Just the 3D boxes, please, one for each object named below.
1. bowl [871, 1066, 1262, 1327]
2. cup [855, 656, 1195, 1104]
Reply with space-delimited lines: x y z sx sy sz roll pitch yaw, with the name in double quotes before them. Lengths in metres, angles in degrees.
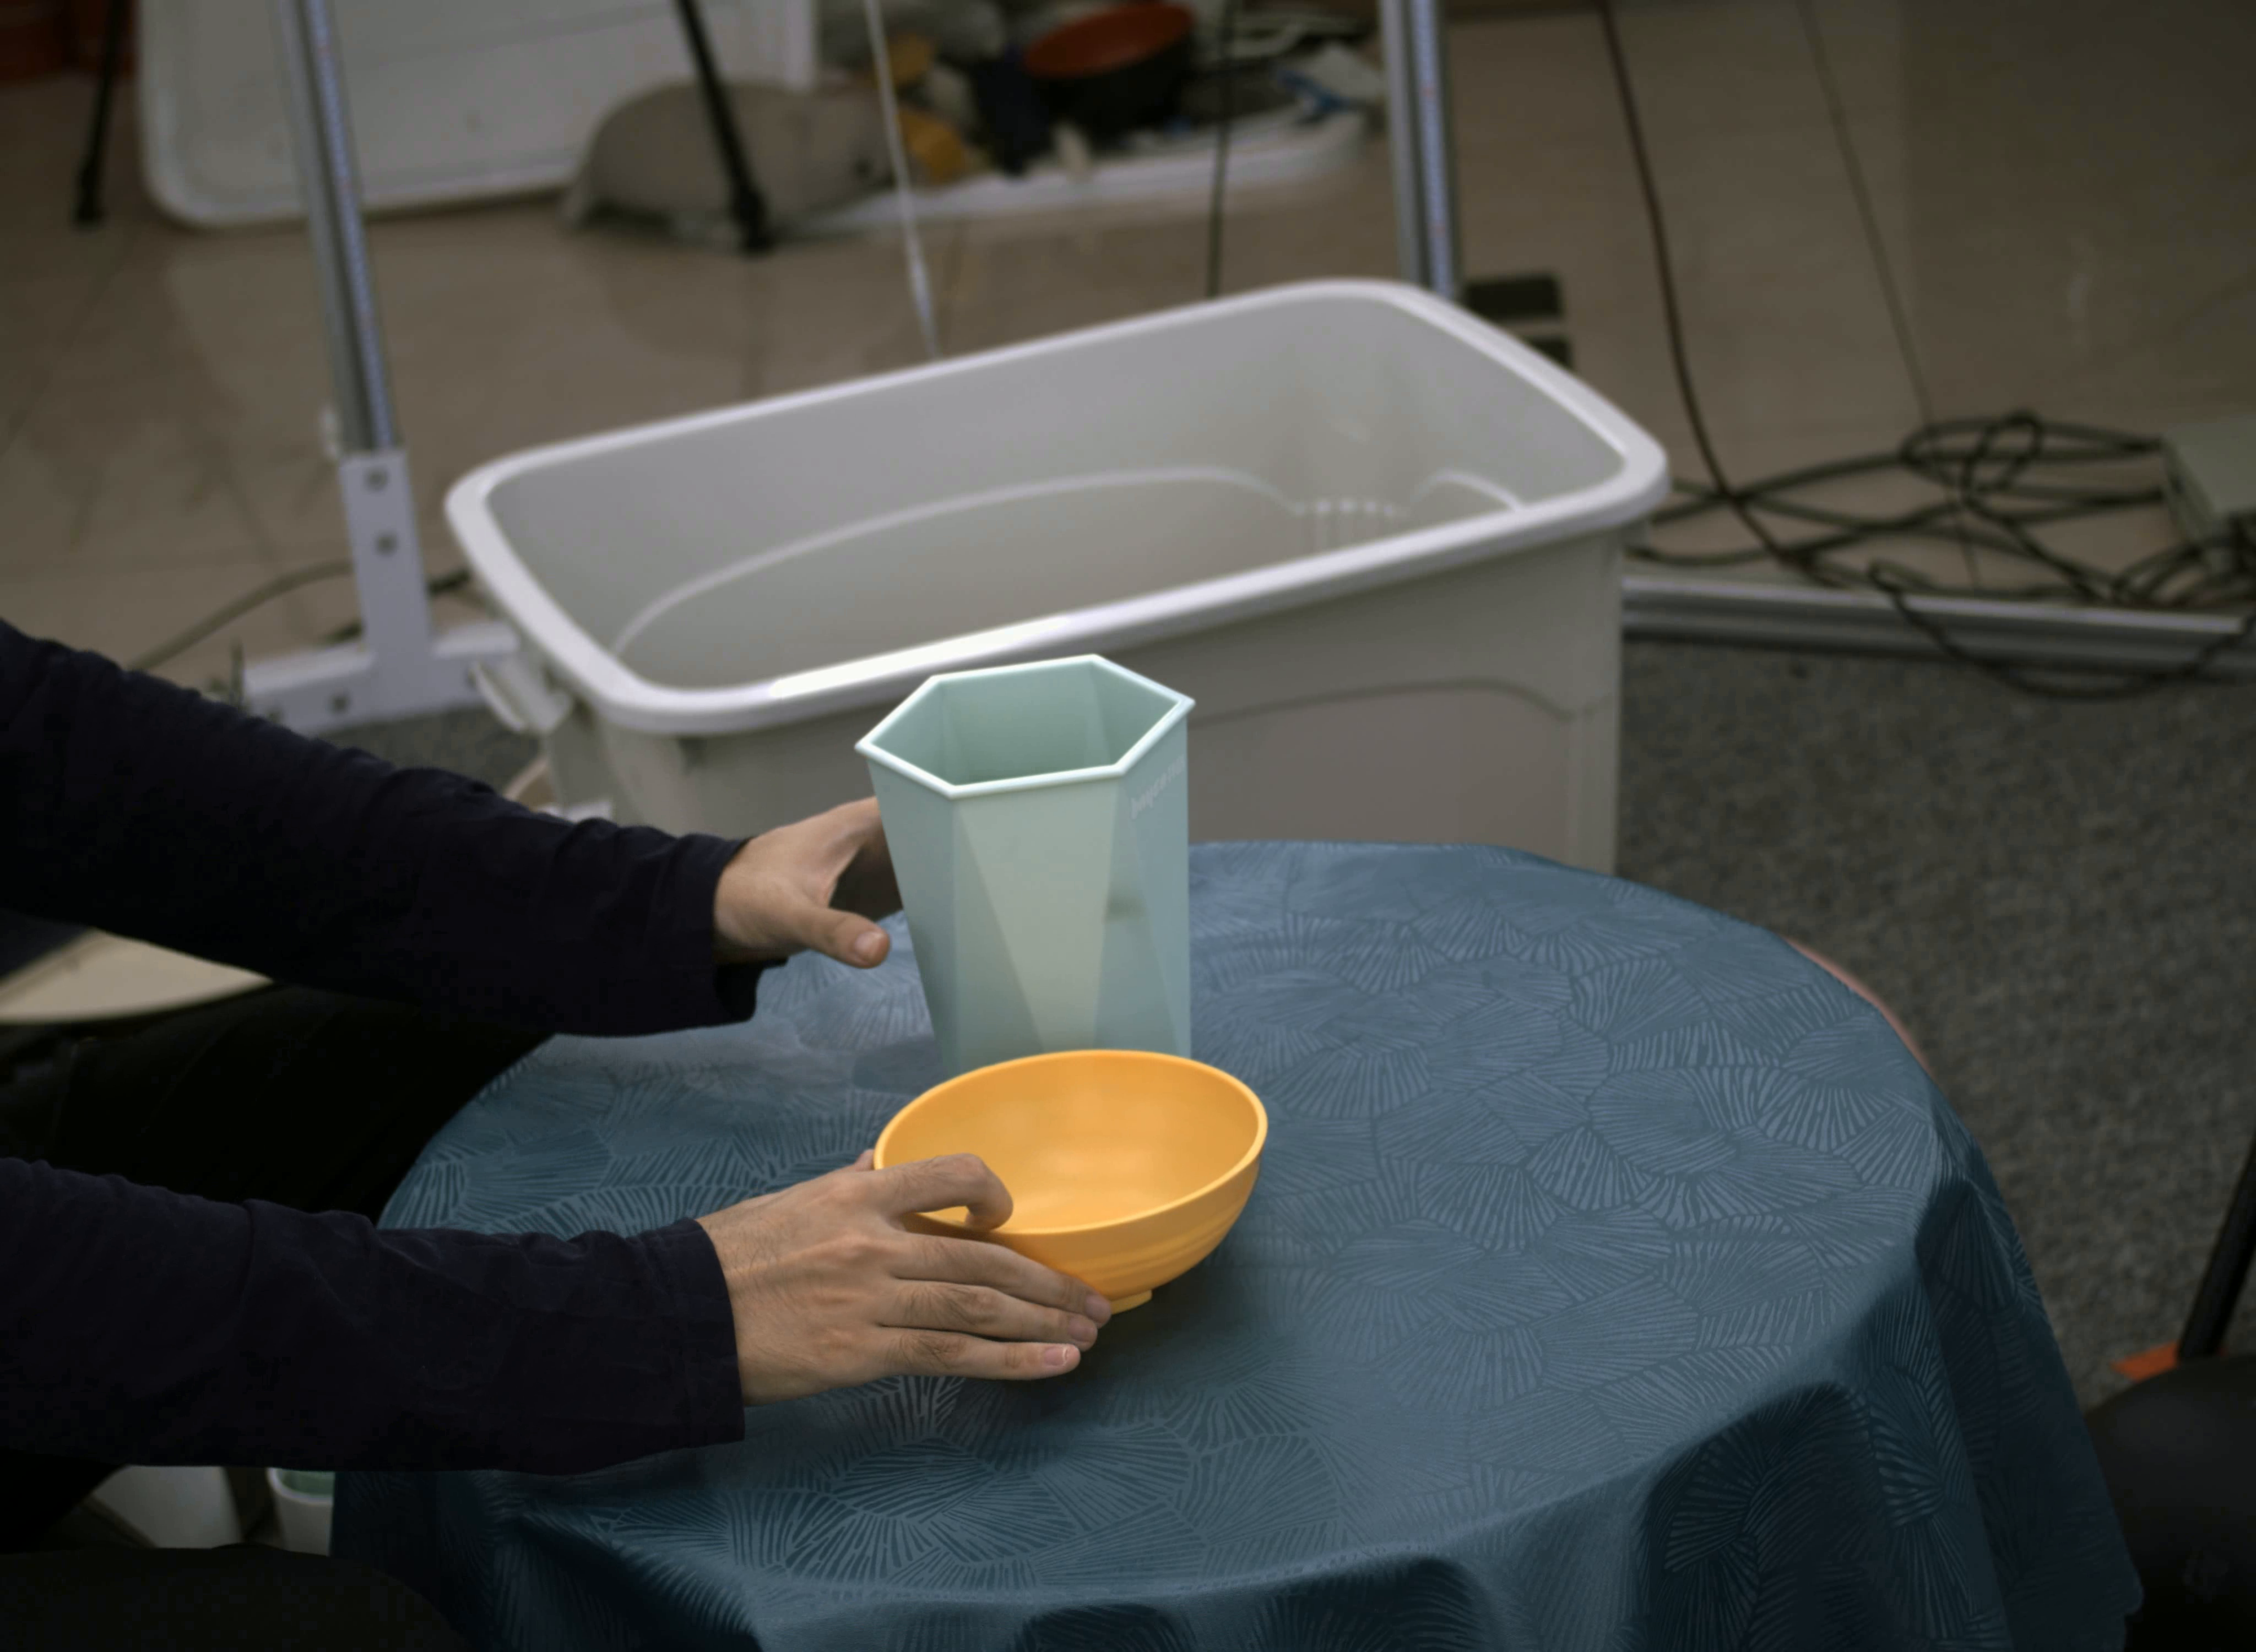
"bowl" -0.020 0.143 2.078 0.145 0.061 0.143 -6 22 3
"cup" -0.030 0.032 2.190 0.115 0.165 0.129 3 26 23
